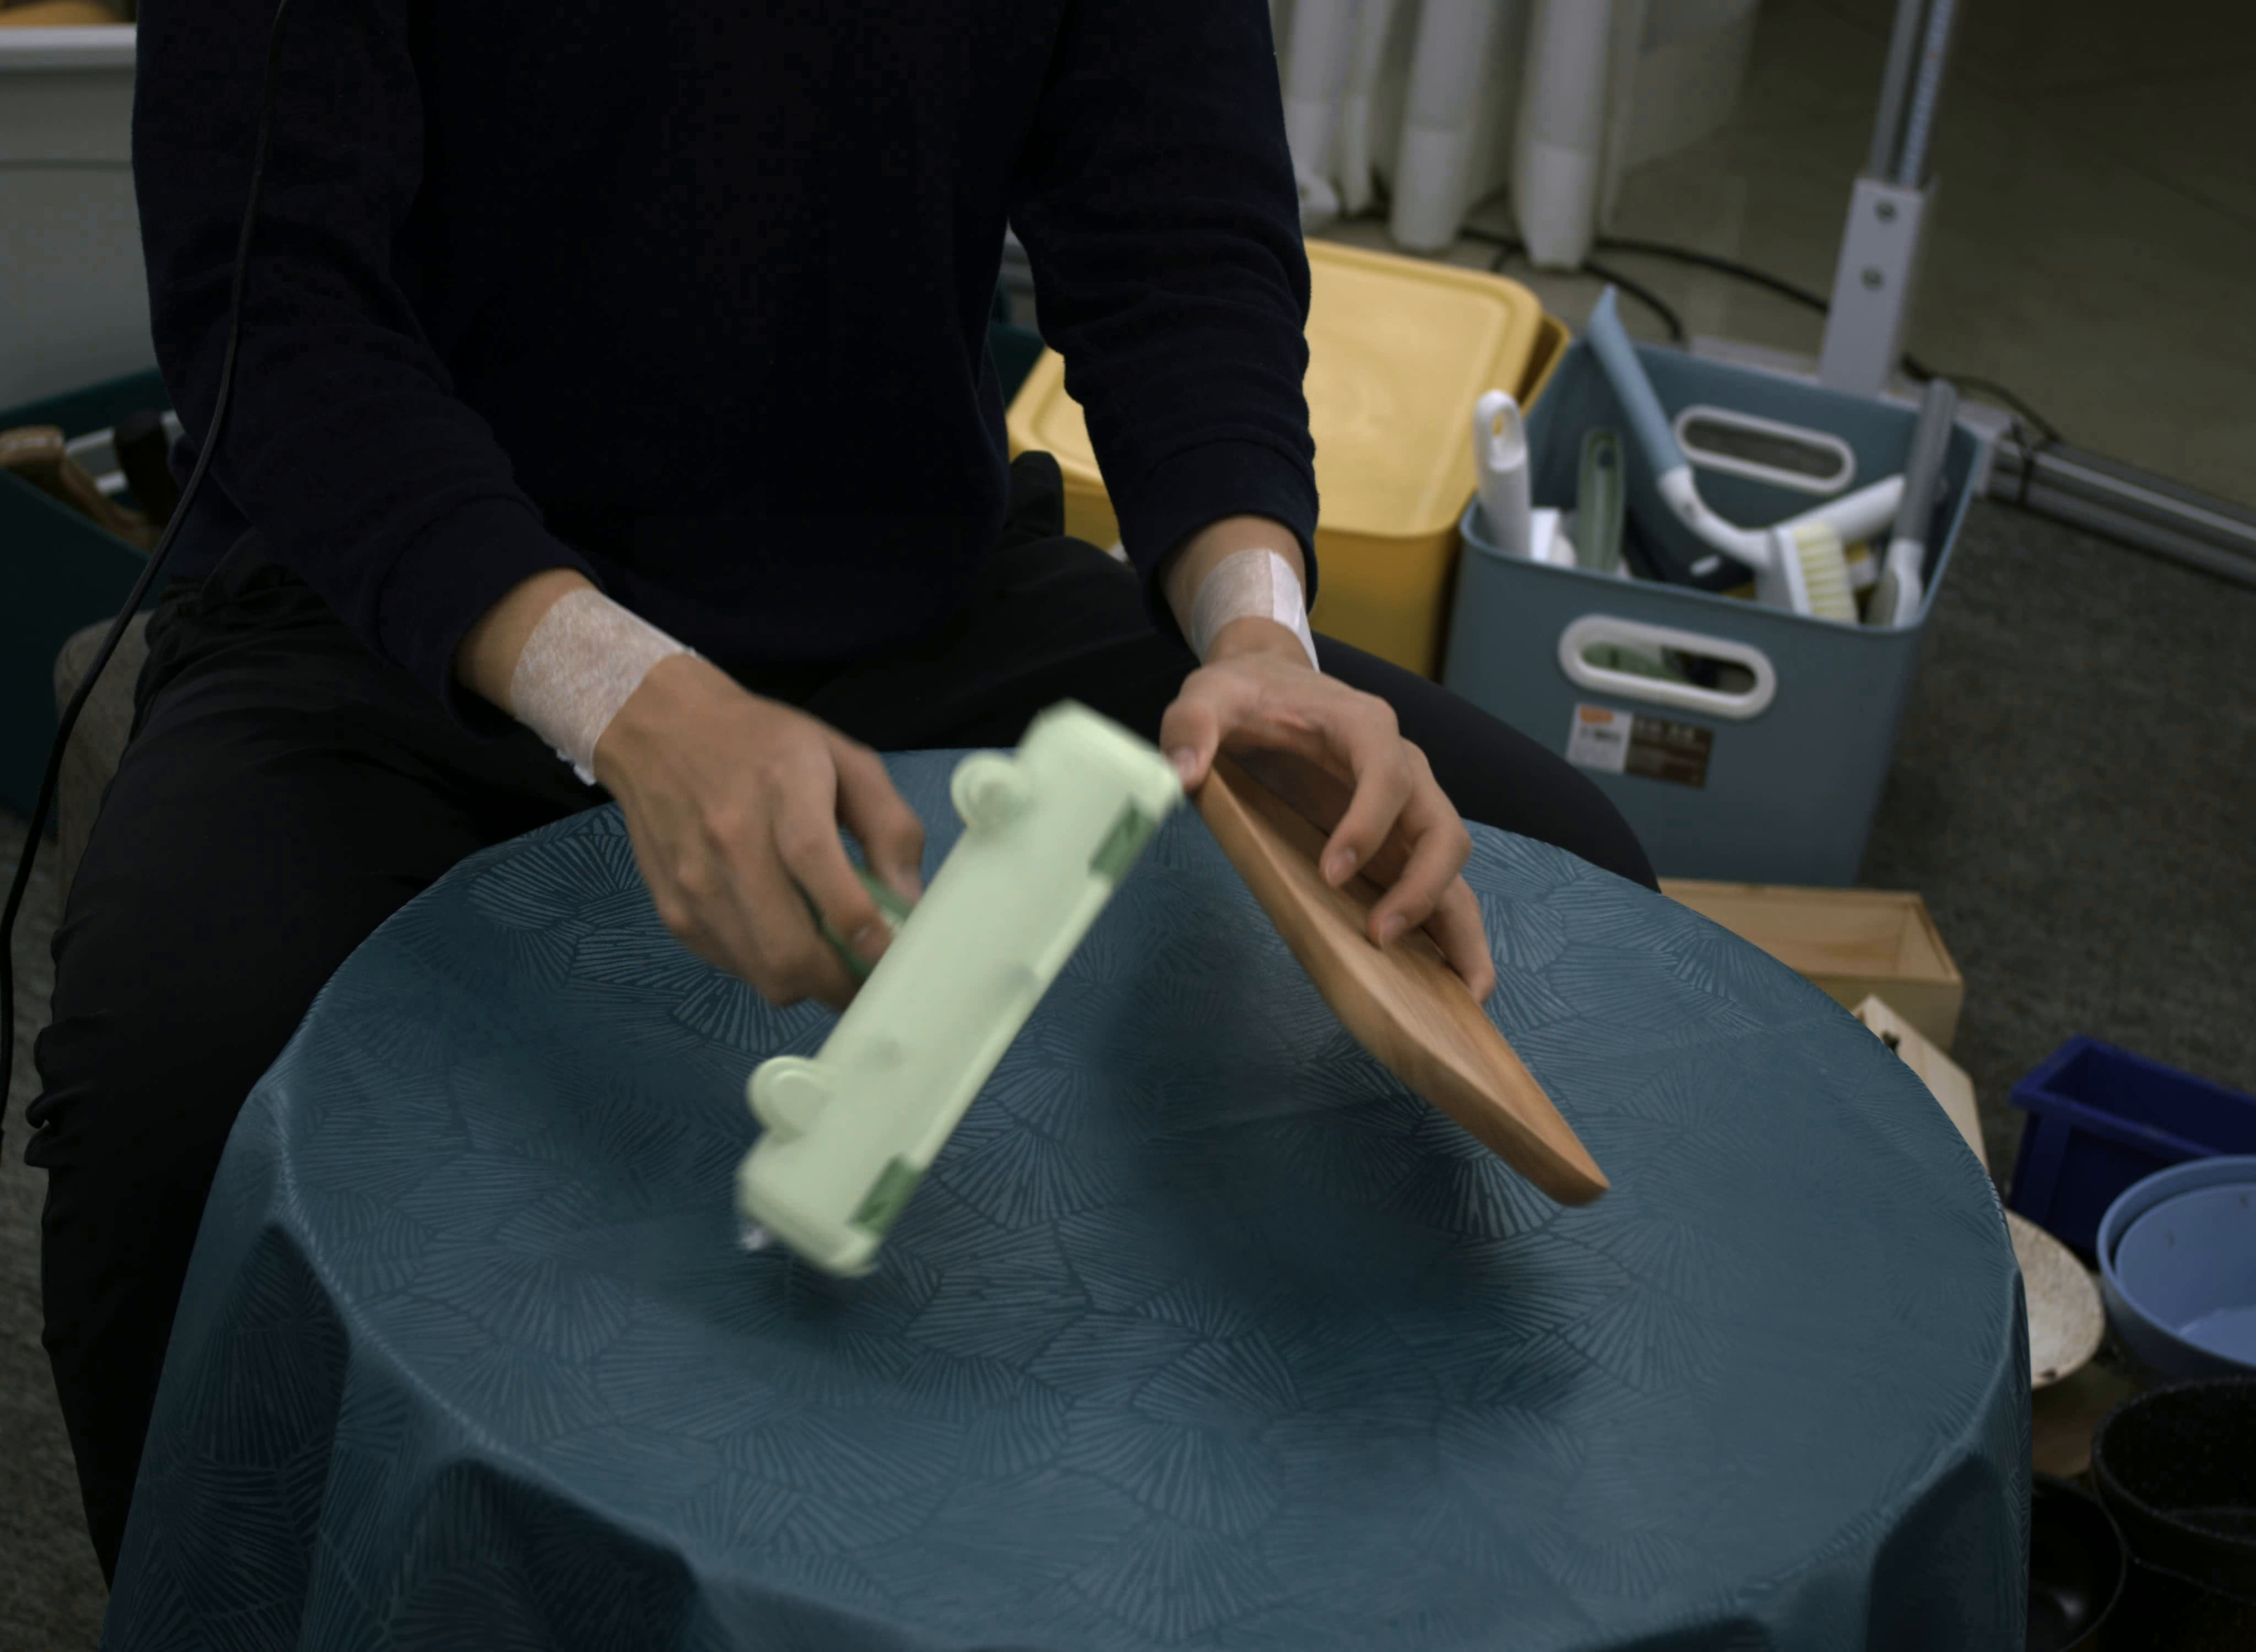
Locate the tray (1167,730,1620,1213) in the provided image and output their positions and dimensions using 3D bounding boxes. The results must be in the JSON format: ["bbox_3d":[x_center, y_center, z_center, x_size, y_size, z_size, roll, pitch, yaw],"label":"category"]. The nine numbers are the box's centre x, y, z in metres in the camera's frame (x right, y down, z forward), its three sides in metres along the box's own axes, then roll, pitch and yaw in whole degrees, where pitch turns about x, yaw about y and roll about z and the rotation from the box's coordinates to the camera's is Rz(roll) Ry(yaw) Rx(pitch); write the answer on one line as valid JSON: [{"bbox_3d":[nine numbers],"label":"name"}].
[{"bbox_3d":[0.086,0.048,1.819,0.129,0.023,0.252,40,8,-27],"label":"tray"}]

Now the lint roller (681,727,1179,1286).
[{"bbox_3d":[-0.100,0.031,1.743,0.185,0.199,0.081,33,-8,37],"label":"lint roller"}]
